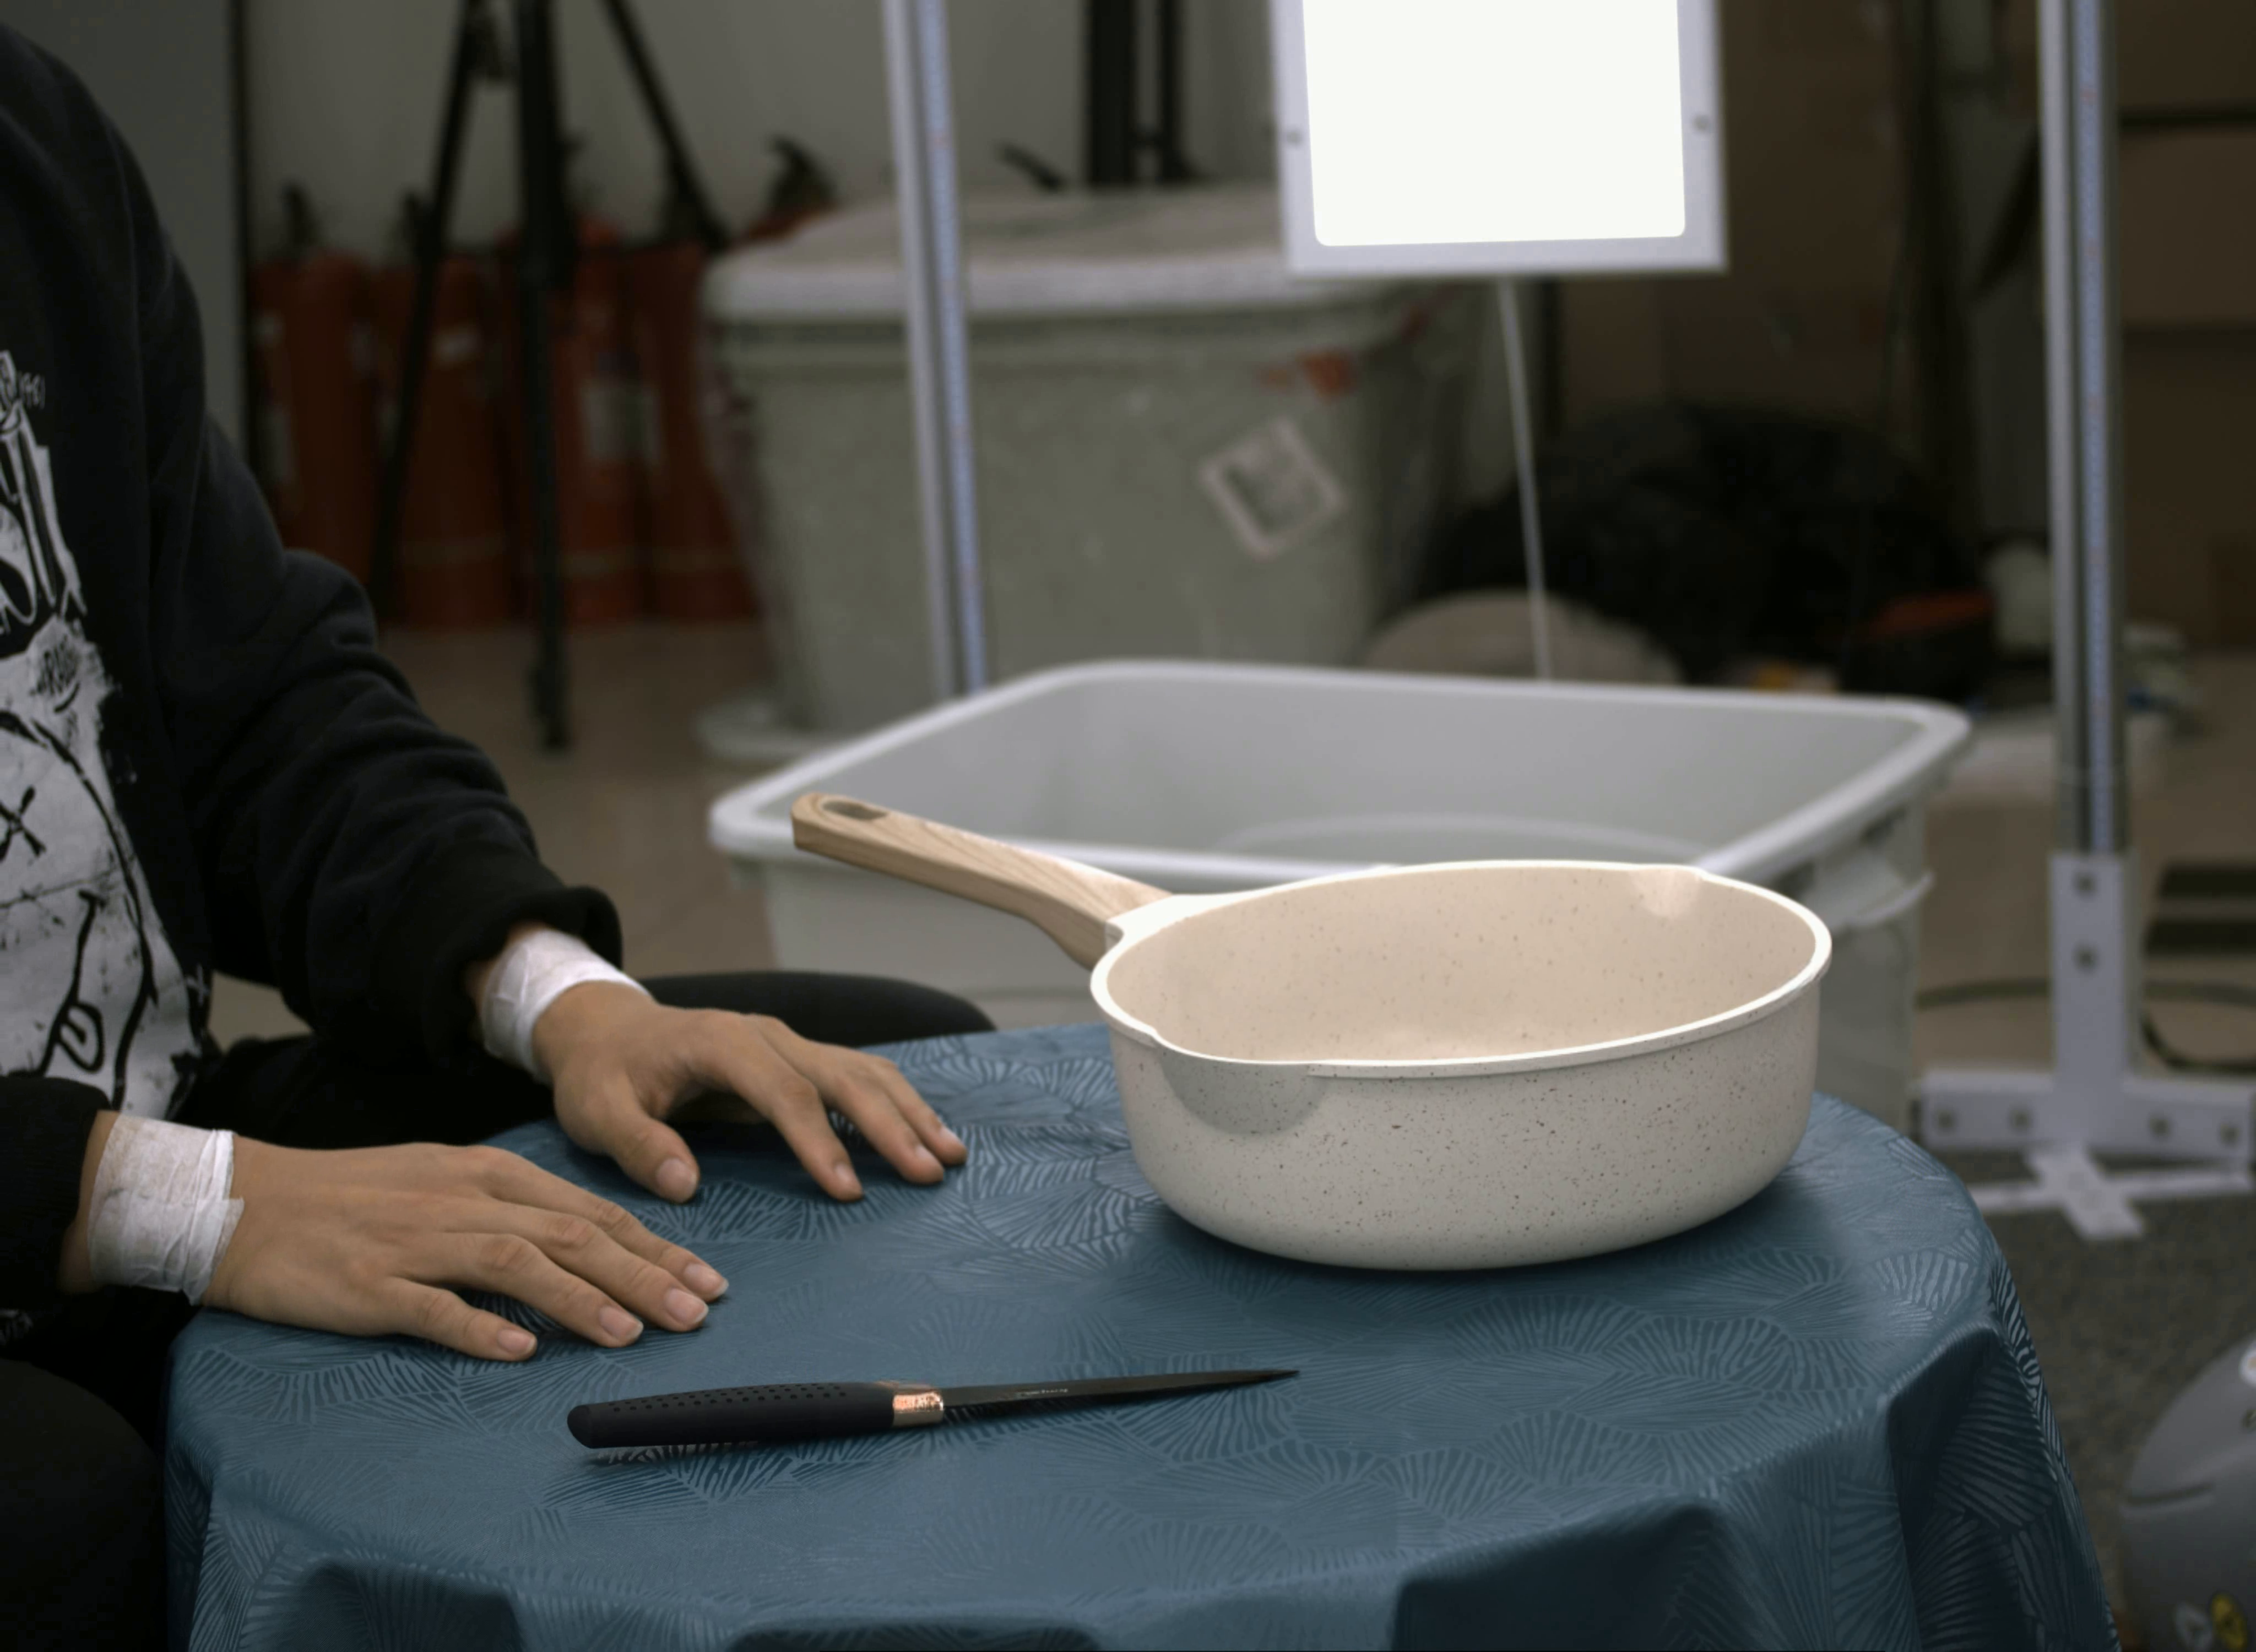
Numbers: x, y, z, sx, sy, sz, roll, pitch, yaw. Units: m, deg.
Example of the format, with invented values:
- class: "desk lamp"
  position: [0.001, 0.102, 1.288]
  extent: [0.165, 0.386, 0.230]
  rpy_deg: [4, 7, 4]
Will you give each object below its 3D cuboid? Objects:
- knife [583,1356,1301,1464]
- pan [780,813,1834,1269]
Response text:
- class: "knife"
  position: [-0.056, 0.177, 1.696]
  extent: [0.224, 0.017, 0.026]
  rpy_deg: [-6, 0, -5]
- class: "pan"
  position: [0.047, 0.065, 1.927]
  extent: [0.444, 0.102, 0.257]
  rpy_deg: [7, 20, 41]
